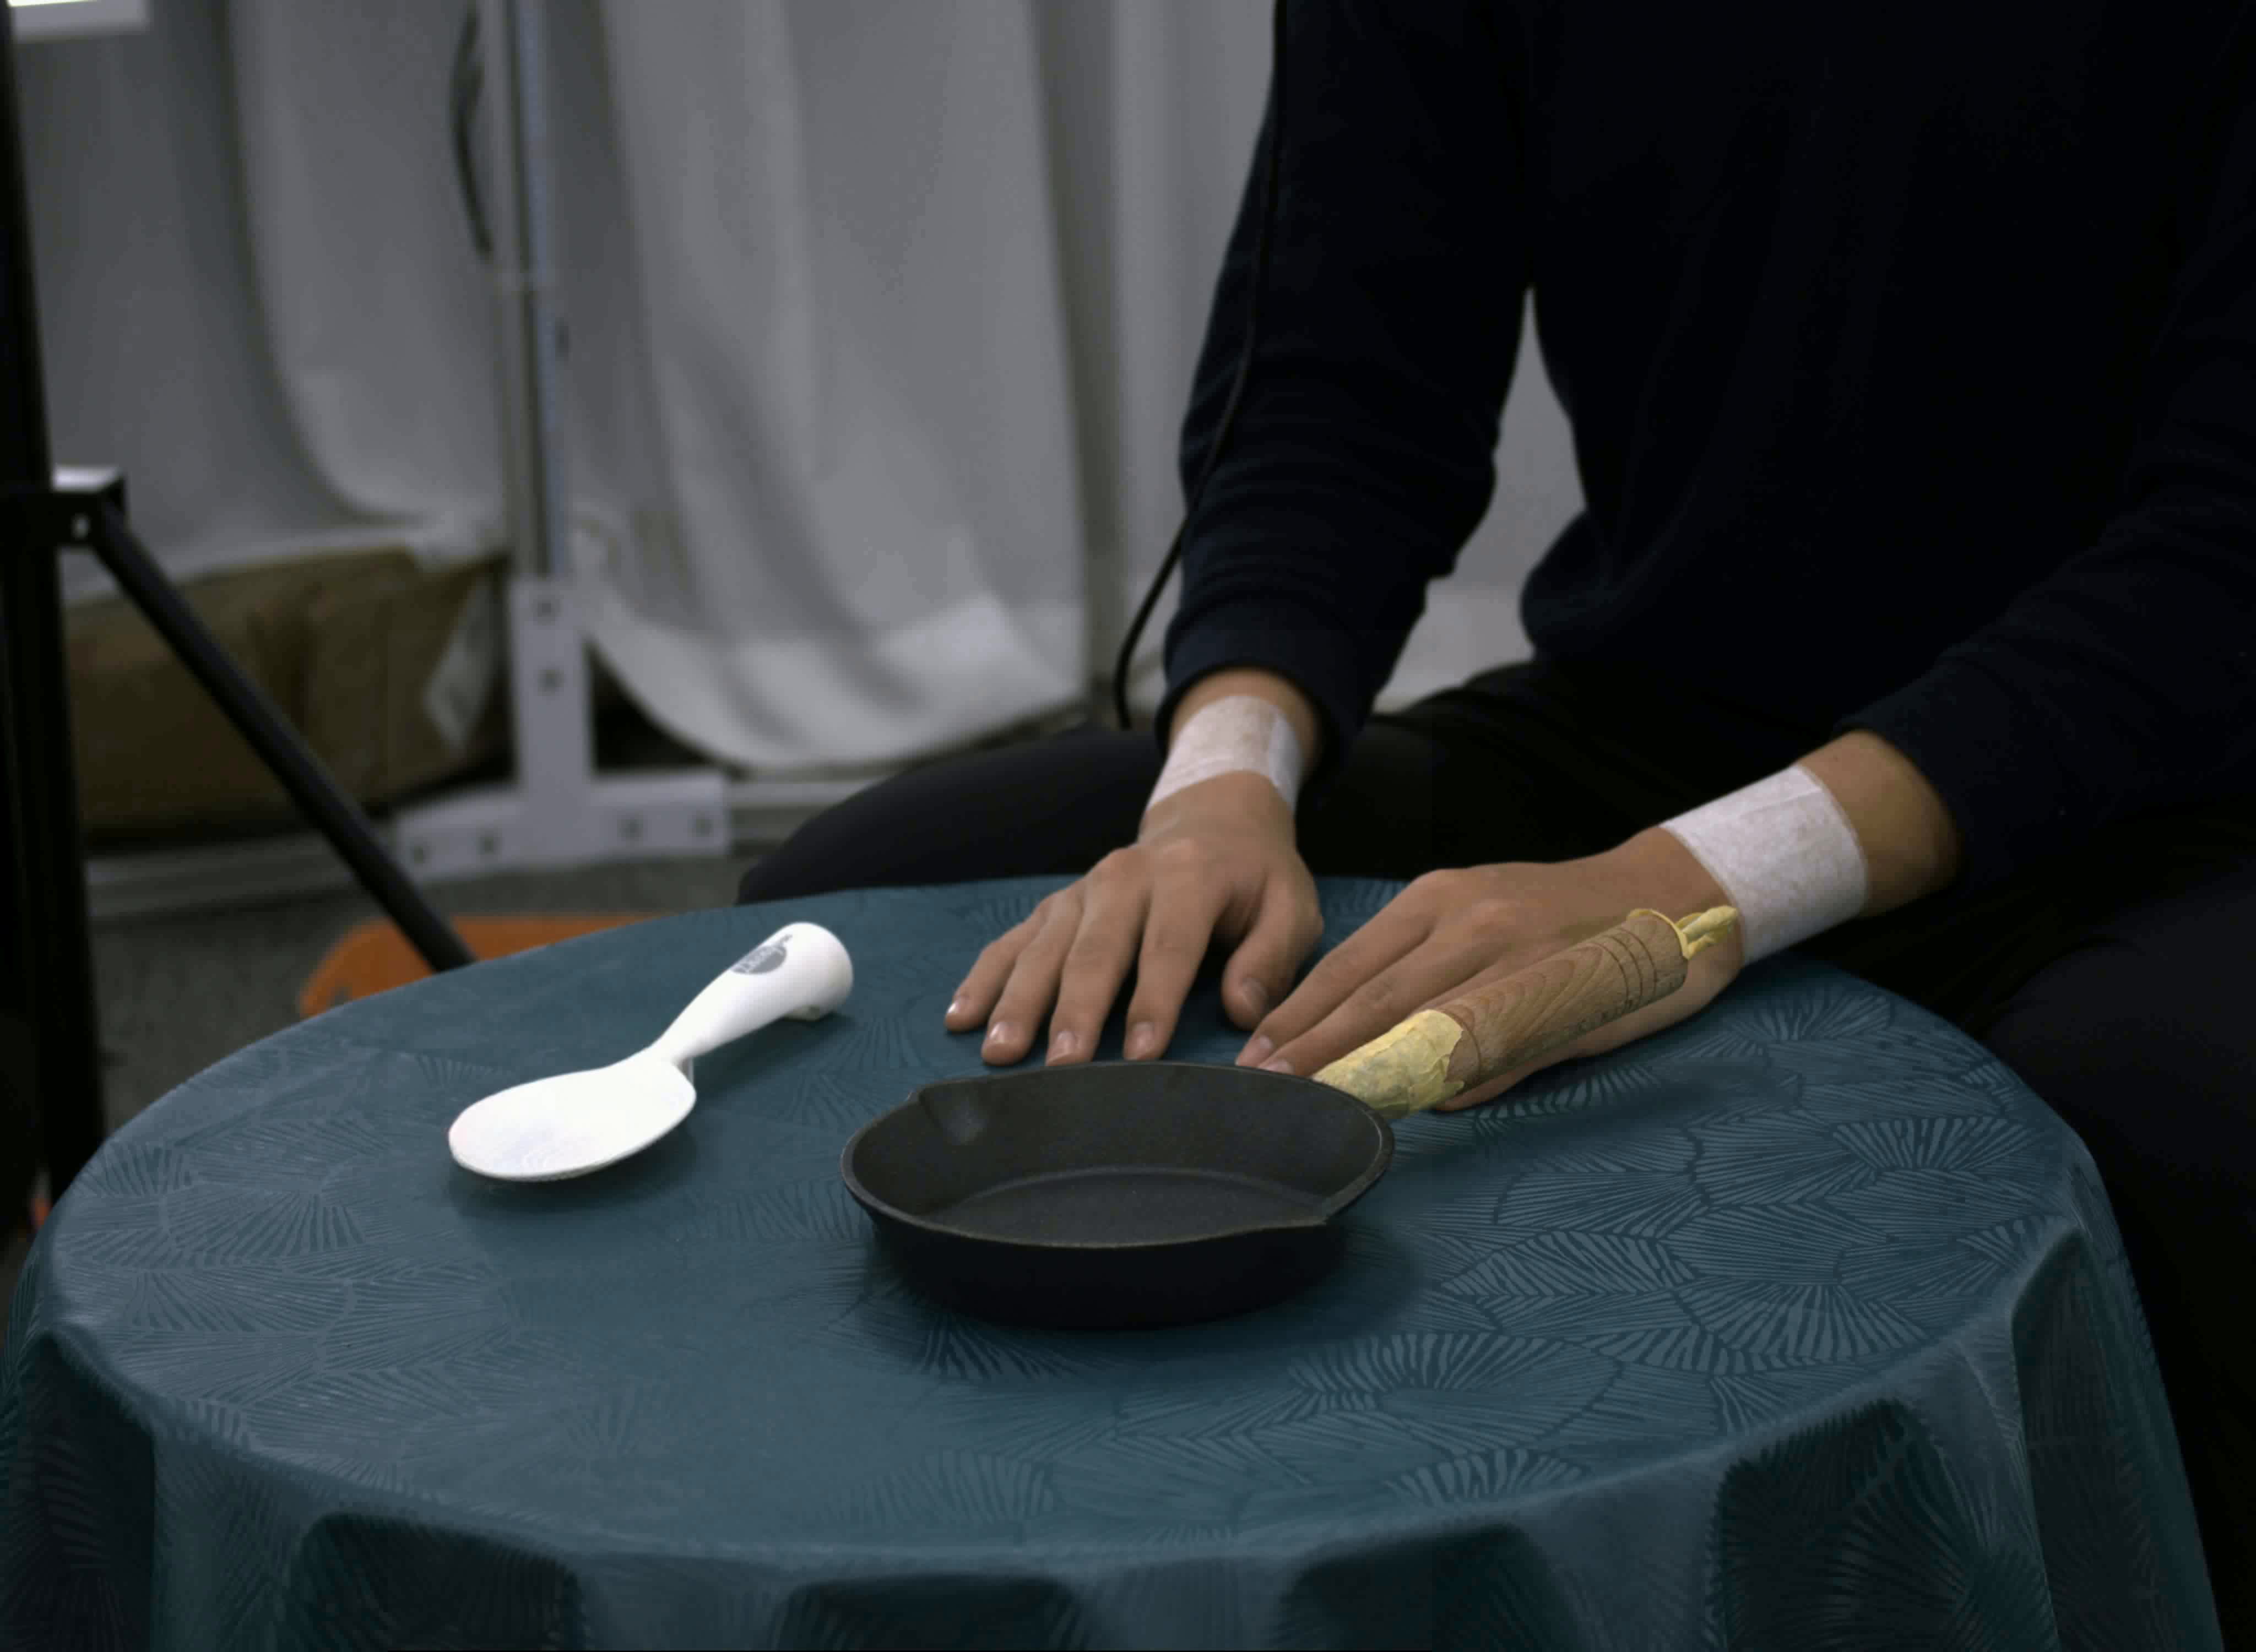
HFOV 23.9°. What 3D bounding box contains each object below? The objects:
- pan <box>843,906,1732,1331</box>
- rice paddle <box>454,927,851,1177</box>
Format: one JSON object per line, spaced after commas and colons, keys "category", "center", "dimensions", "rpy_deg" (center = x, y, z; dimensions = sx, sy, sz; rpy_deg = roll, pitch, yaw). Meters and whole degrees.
{"category": "pan", "center": [0.063, 0.081, 1.550], "dimensions": [0.317, 0.049, 0.173], "rpy_deg": [-16, 20, -35]}
{"category": "rice paddle", "center": [-0.143, 0.073, 1.654], "dimensions": [0.070, 0.029, 0.202], "rpy_deg": [2, 16, 24]}
